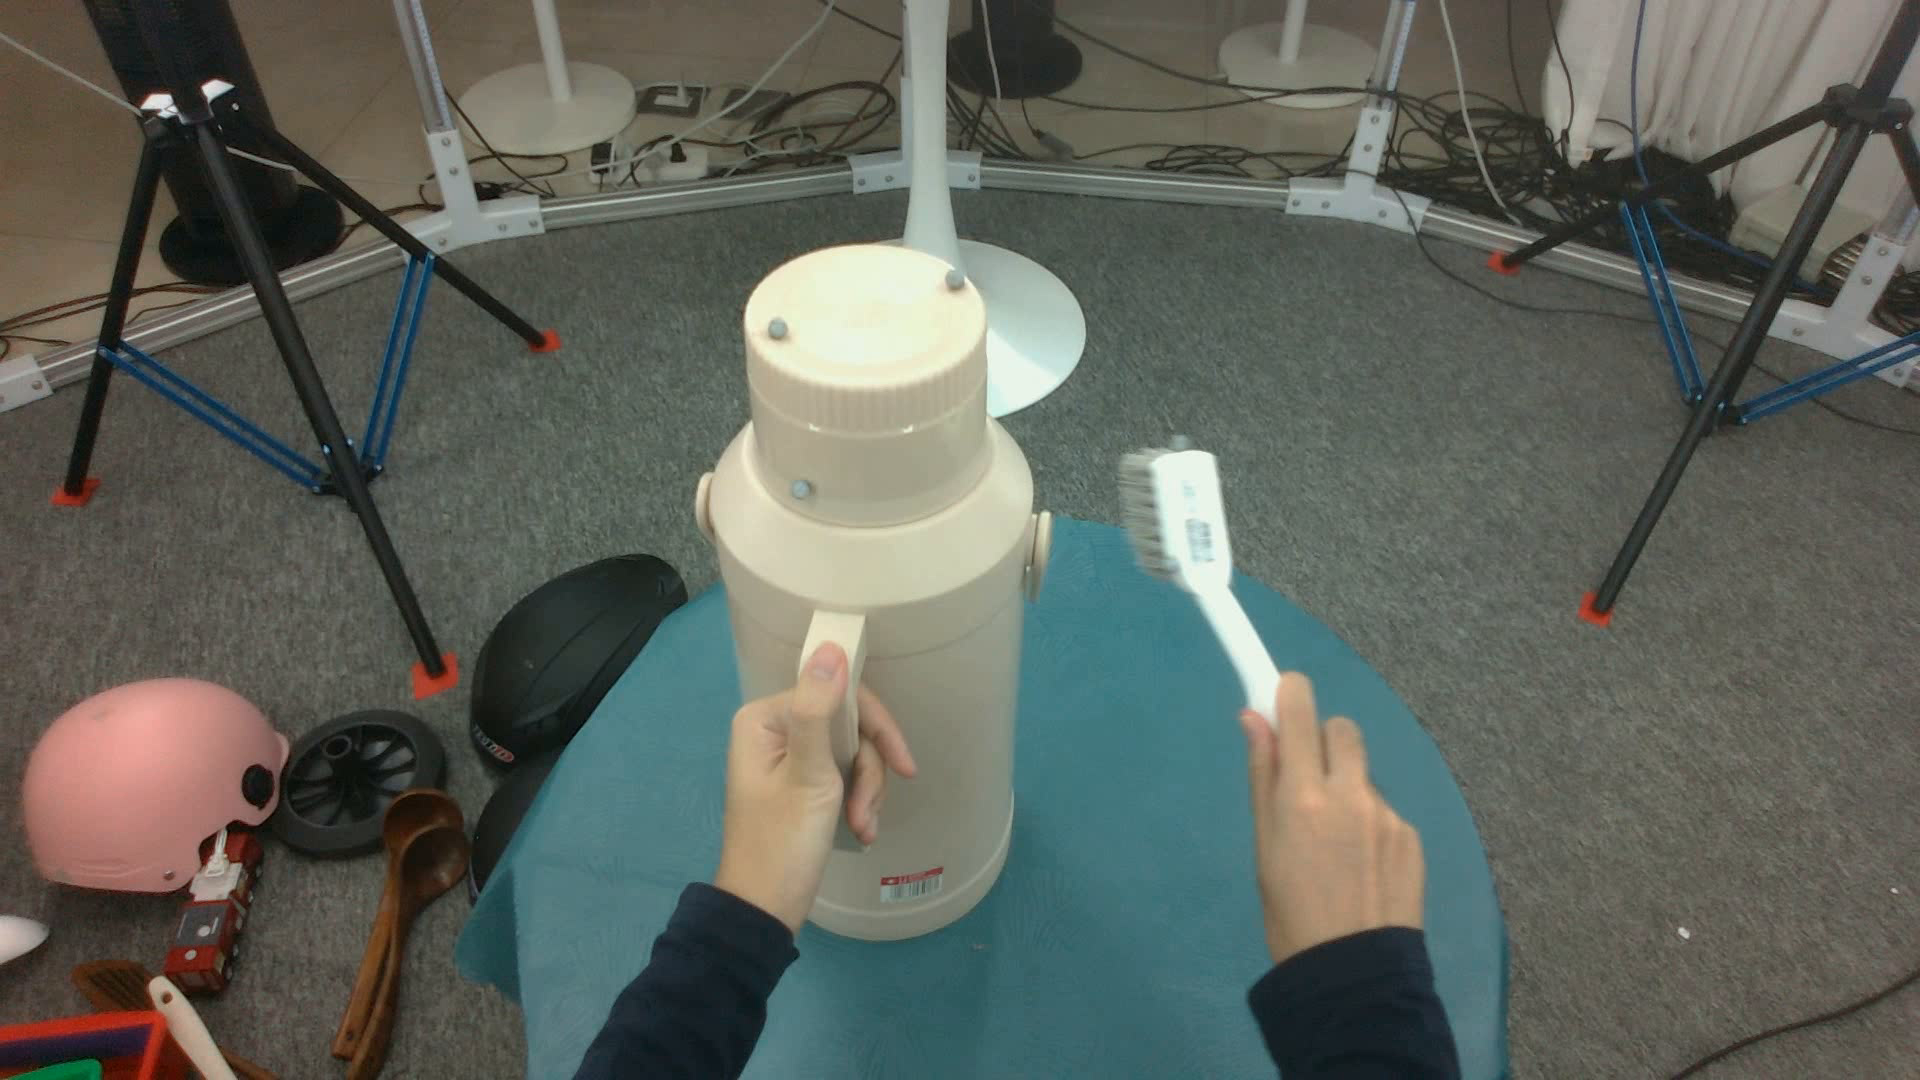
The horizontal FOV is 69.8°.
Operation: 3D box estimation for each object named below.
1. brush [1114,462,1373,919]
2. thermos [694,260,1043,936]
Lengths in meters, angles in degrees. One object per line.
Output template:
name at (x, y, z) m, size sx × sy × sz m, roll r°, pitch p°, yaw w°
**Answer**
brush at (0.135, 0.071, 0.681) m, size 0.034 × 0.050 × 0.244 m, roll -13°, pitch 78°, yaw -41°
thermos at (-0.052, 0.056, 0.737) m, size 0.175 × 0.404 × 0.208 m, roll 7°, pitch 45°, yaw 3°
